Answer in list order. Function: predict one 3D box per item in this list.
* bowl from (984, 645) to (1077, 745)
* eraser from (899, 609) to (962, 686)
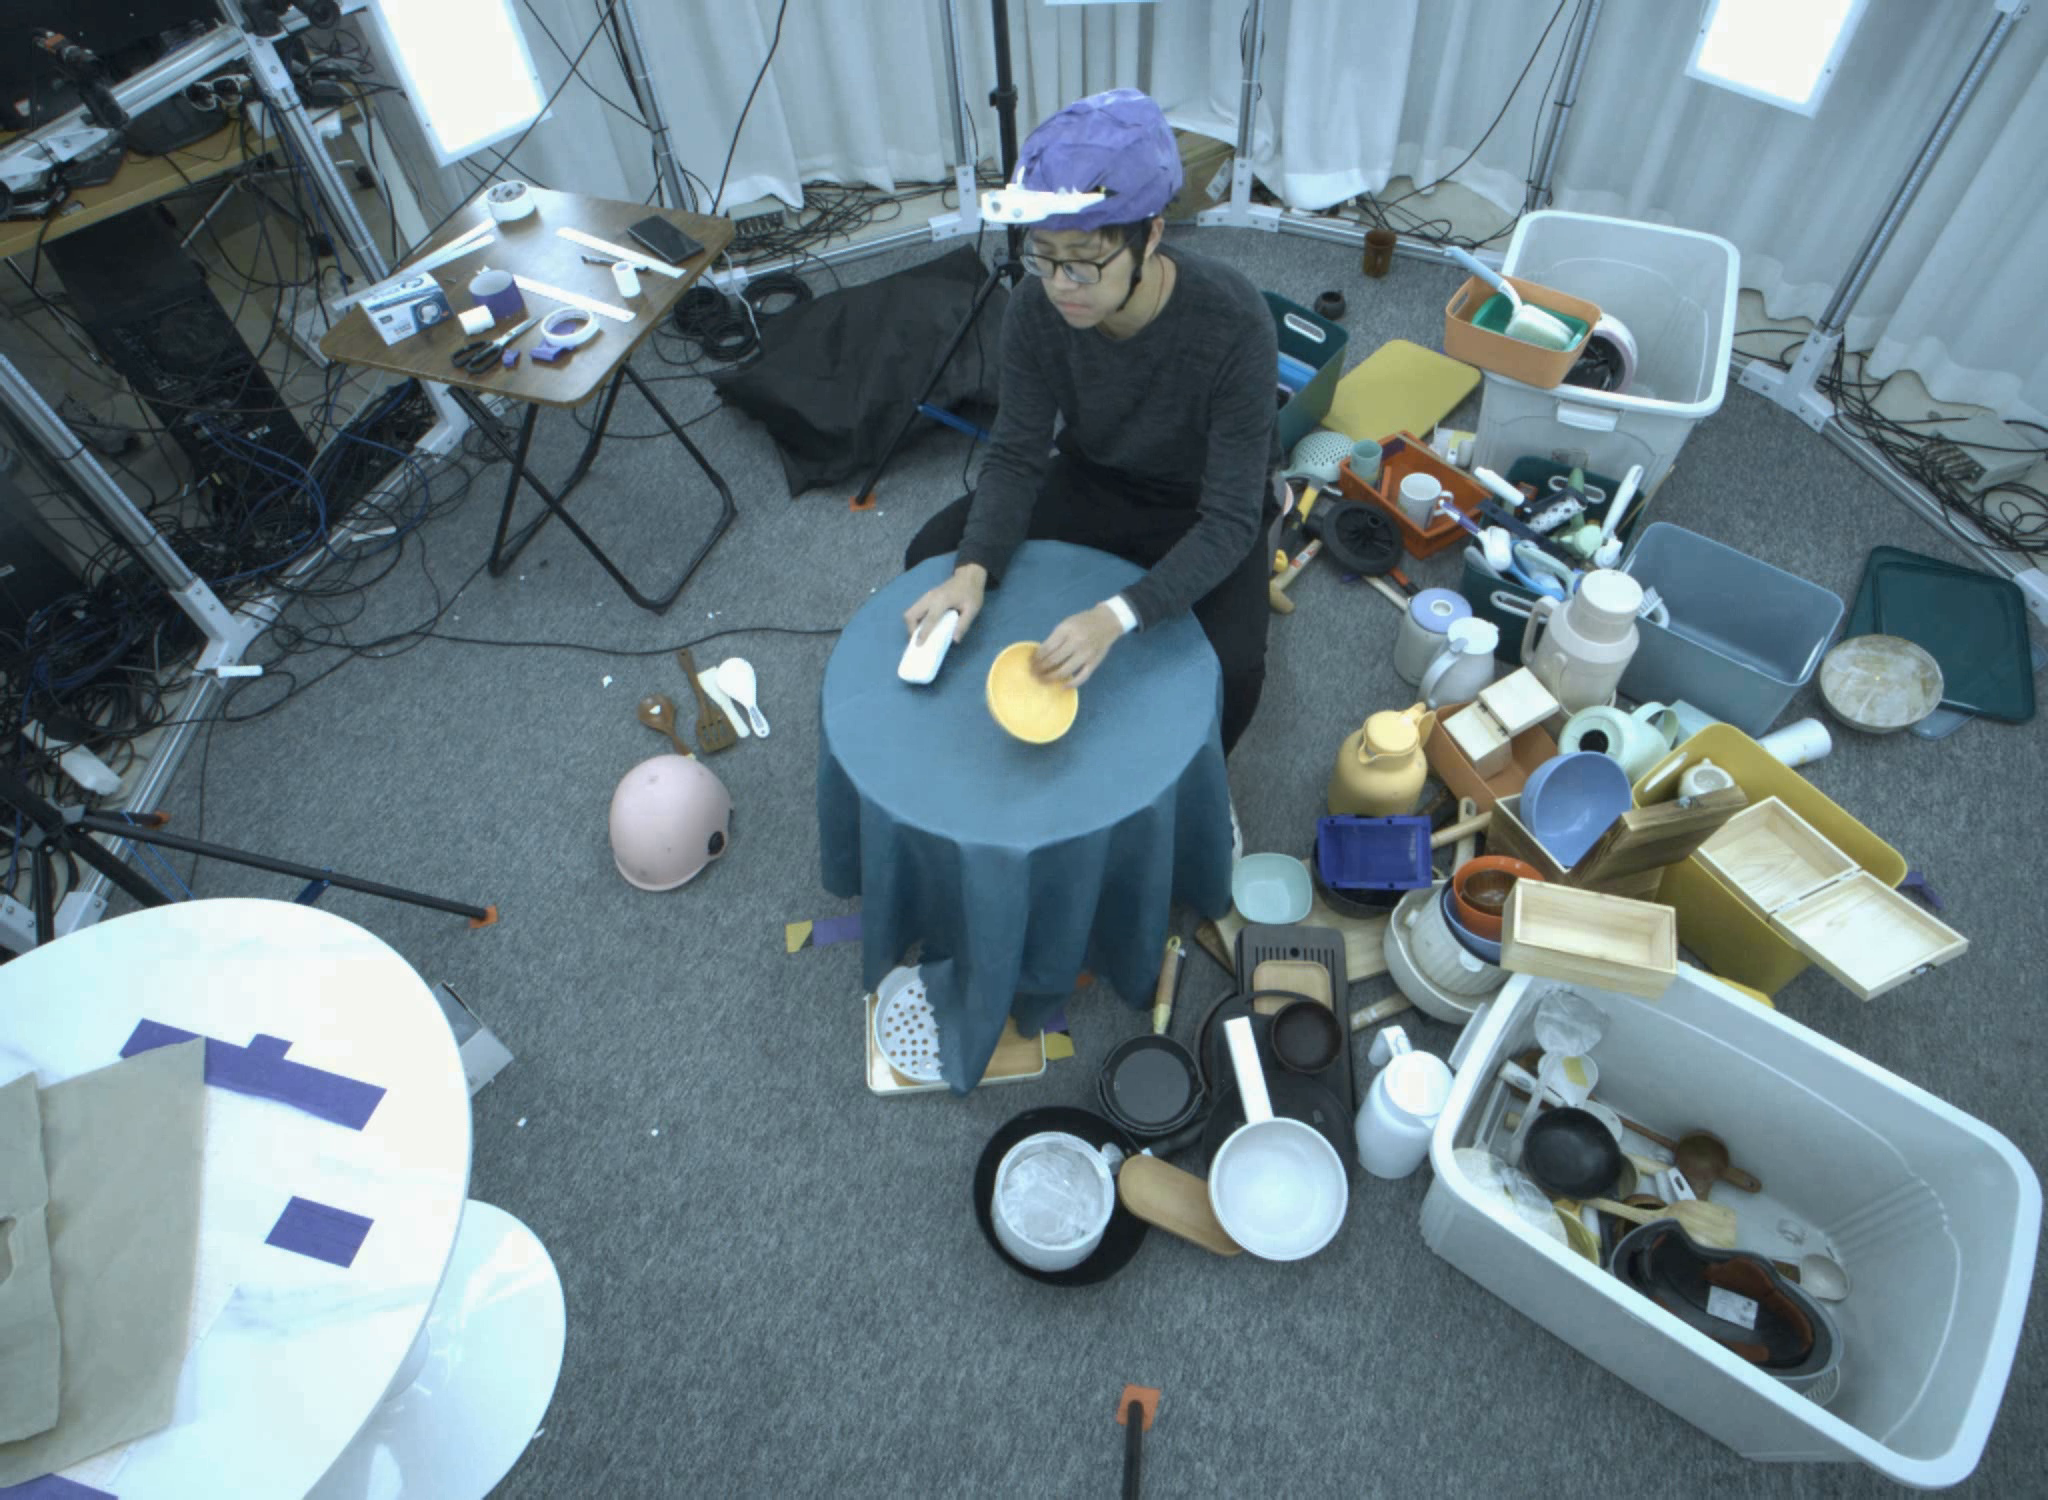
[{"bbox_3d":[-0.001,-0.072,1.749,0.148,0.059,0.144,7,76,-29],"label":"bowl"},{"bbox_3d":[-0.142,-0.159,1.869,0.062,0.035,0.131,8,62,30],"label":"eraser"}]
